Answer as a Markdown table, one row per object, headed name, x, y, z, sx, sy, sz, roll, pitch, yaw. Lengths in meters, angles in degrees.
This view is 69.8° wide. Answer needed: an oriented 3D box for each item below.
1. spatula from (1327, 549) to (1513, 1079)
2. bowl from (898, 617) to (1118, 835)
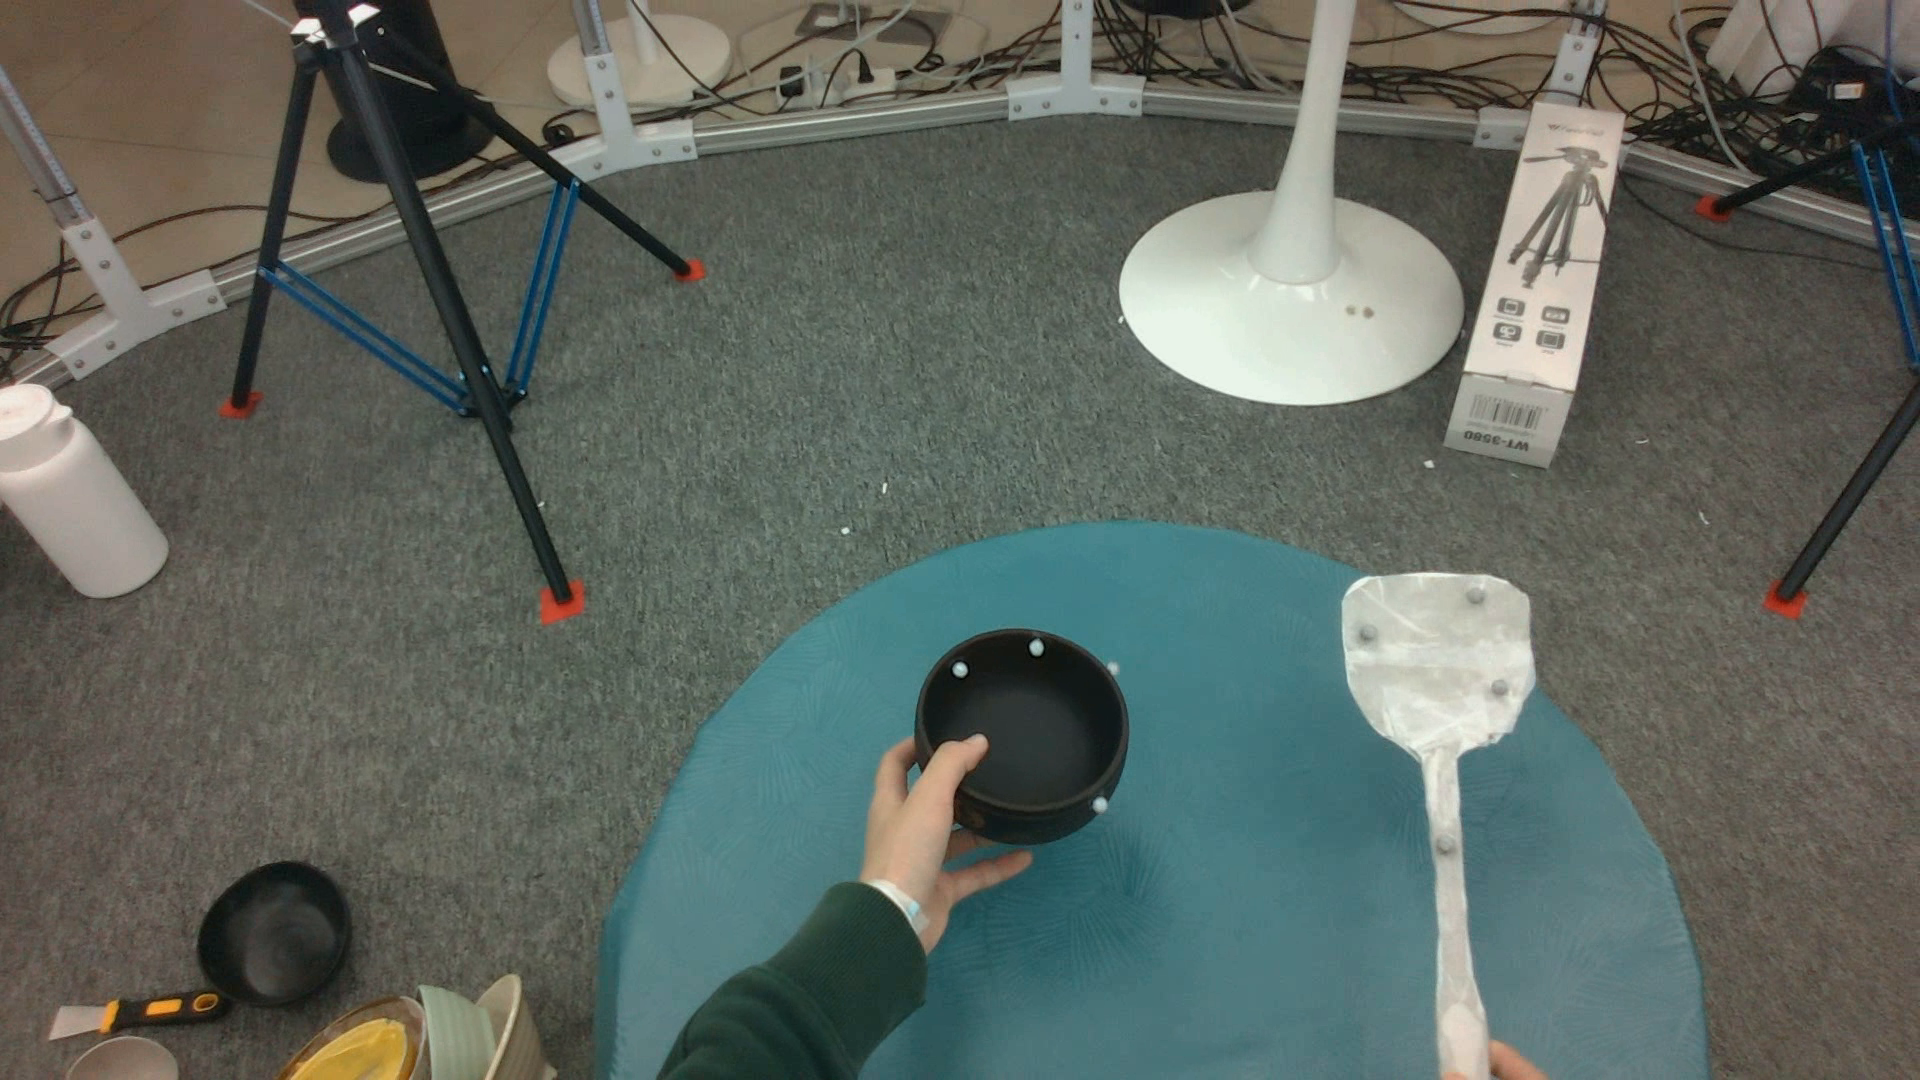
| name | x | y | z | sx | sy | sz | roll | pitch | yaw |
| --- | --- | --- | --- | --- | --- | --- | --- | --- | --- |
| spatula | 0.226 | 0.158 | 0.665 | 0.098 | 0.044 | 0.367 | 3 | 50 | 12 |
| bowl | 0.025 | 0.108 | 0.753 | 0.118 | 0.069 | 0.118 | 1 | 50 | -1 |
